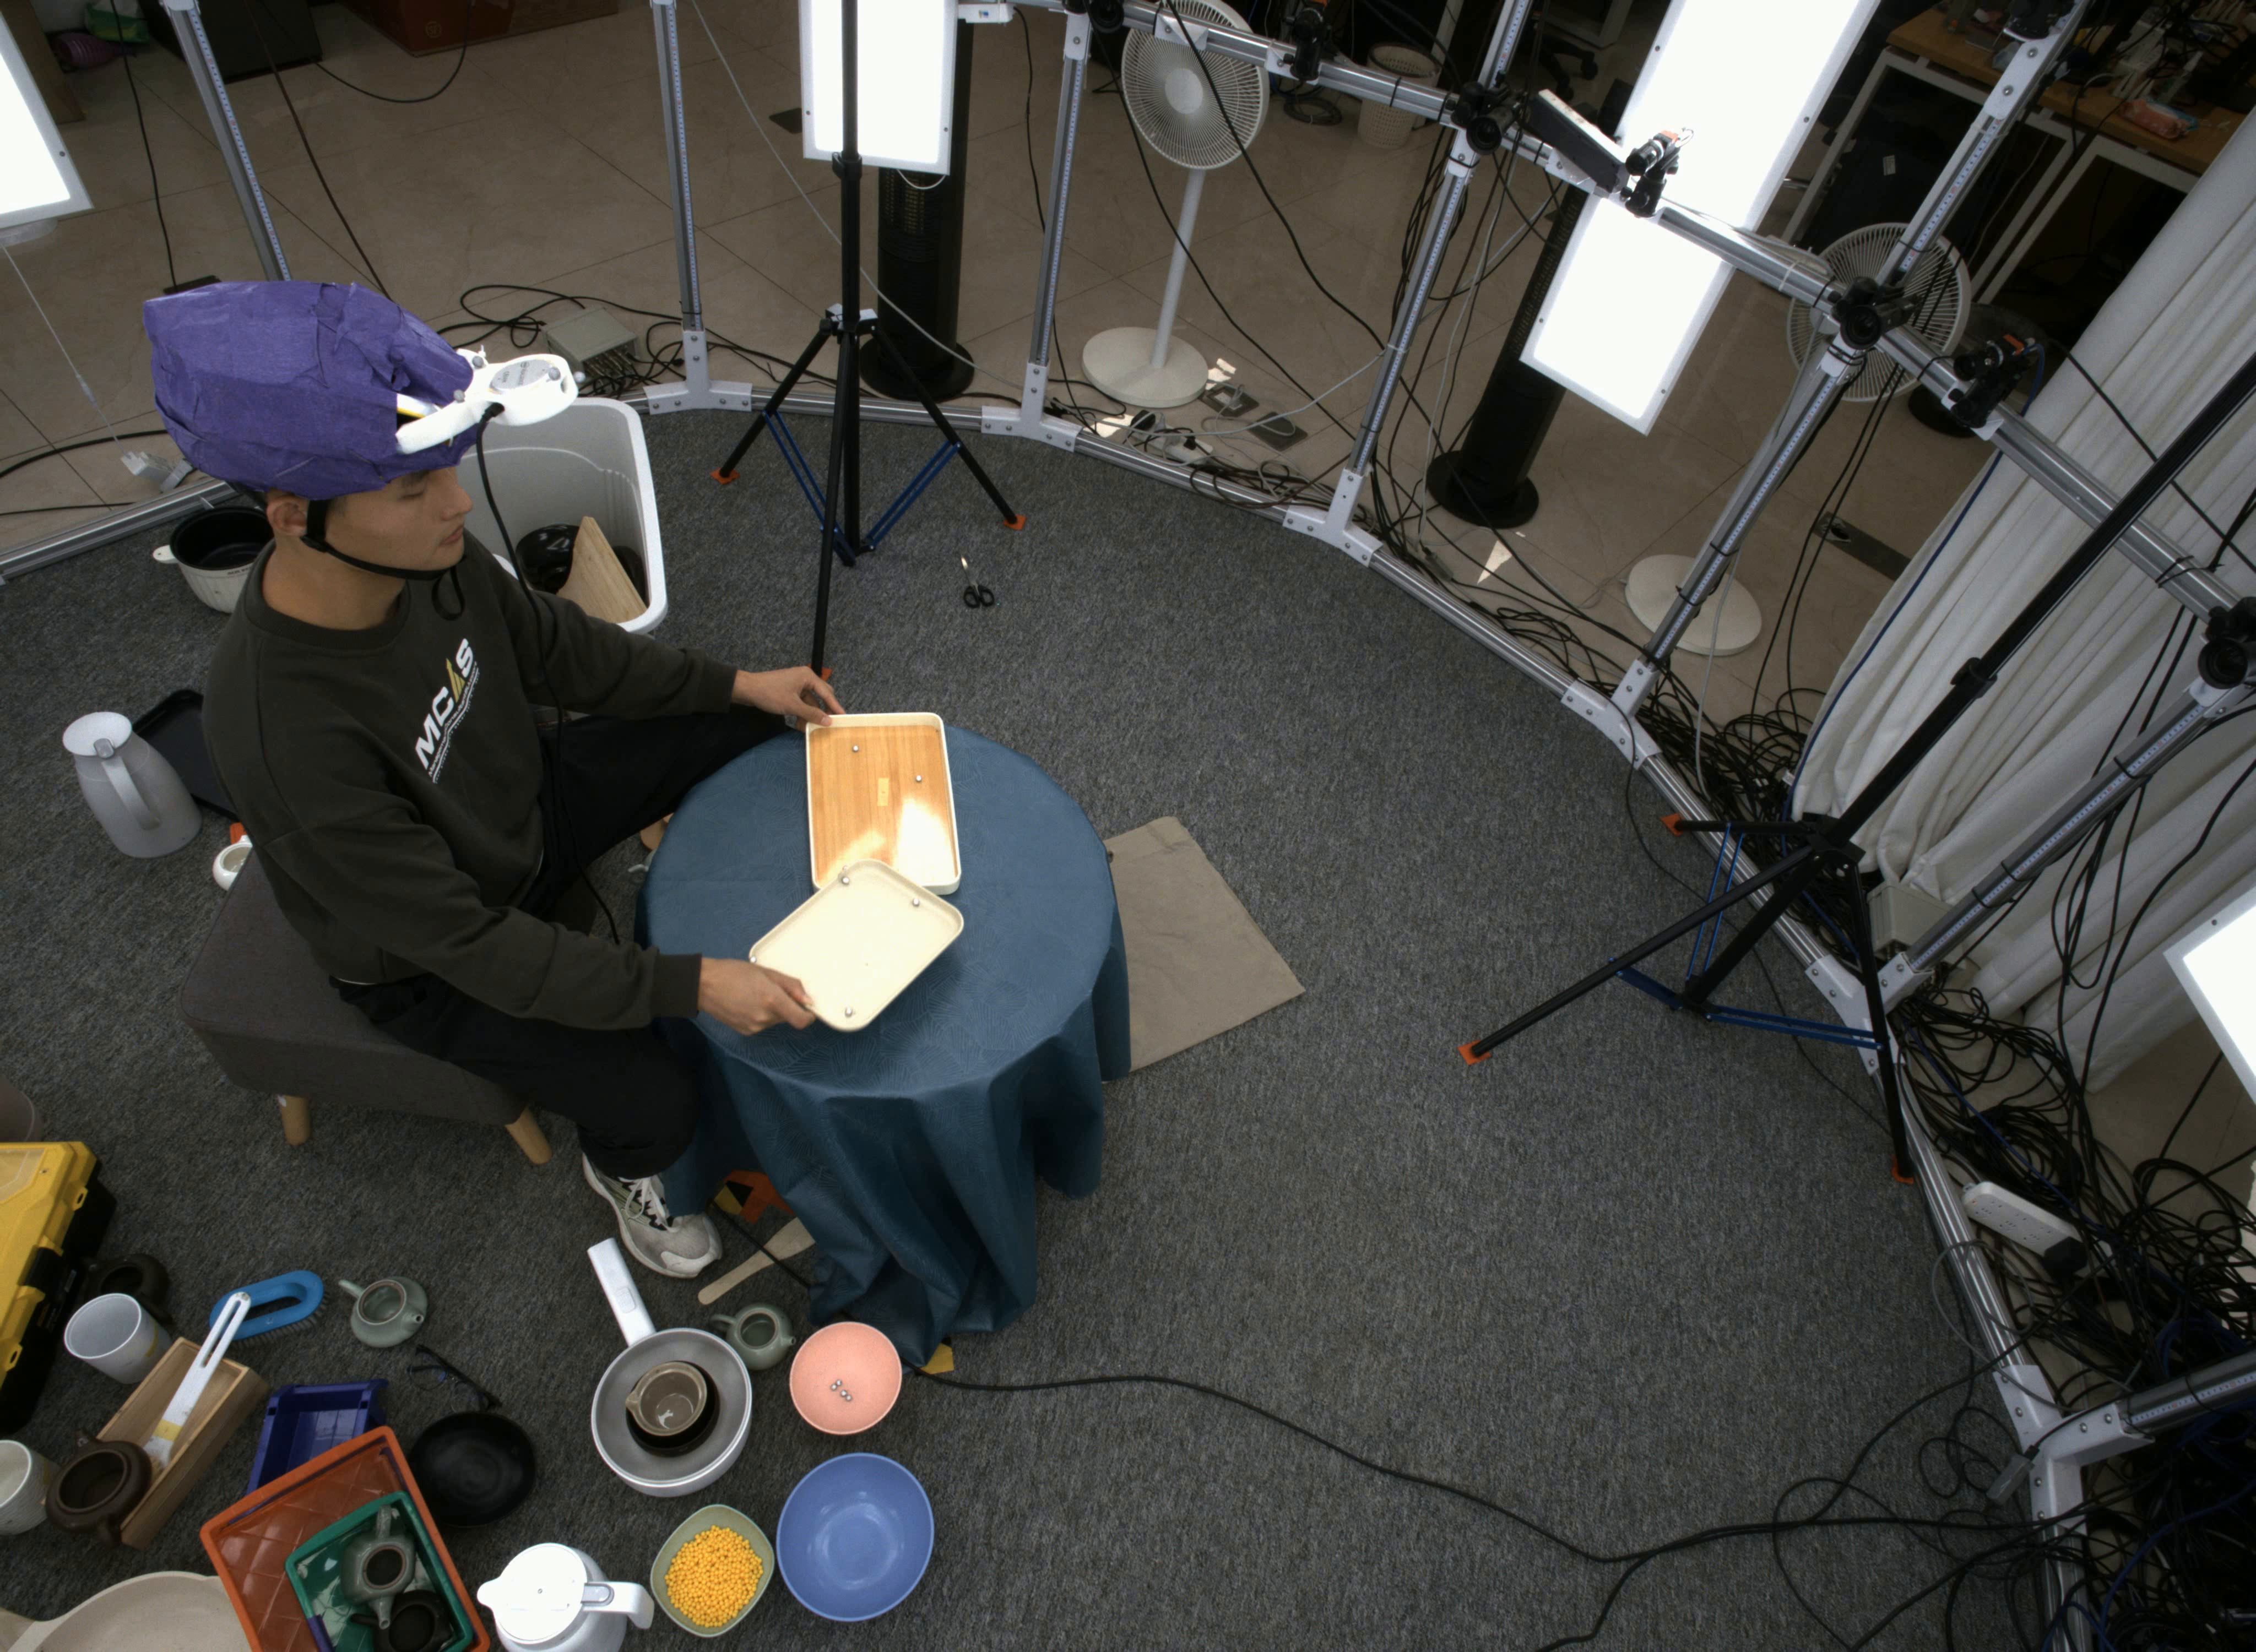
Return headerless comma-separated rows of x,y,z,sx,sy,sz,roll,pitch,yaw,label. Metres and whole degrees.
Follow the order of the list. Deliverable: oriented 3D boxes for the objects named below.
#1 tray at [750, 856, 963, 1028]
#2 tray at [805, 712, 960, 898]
-0.324,0.135,1.568,0.168,0.018,0.239,32,43,11,tray
-0.336,-0.033,1.764,0.192,0.028,0.293,-3,54,-15,tray
